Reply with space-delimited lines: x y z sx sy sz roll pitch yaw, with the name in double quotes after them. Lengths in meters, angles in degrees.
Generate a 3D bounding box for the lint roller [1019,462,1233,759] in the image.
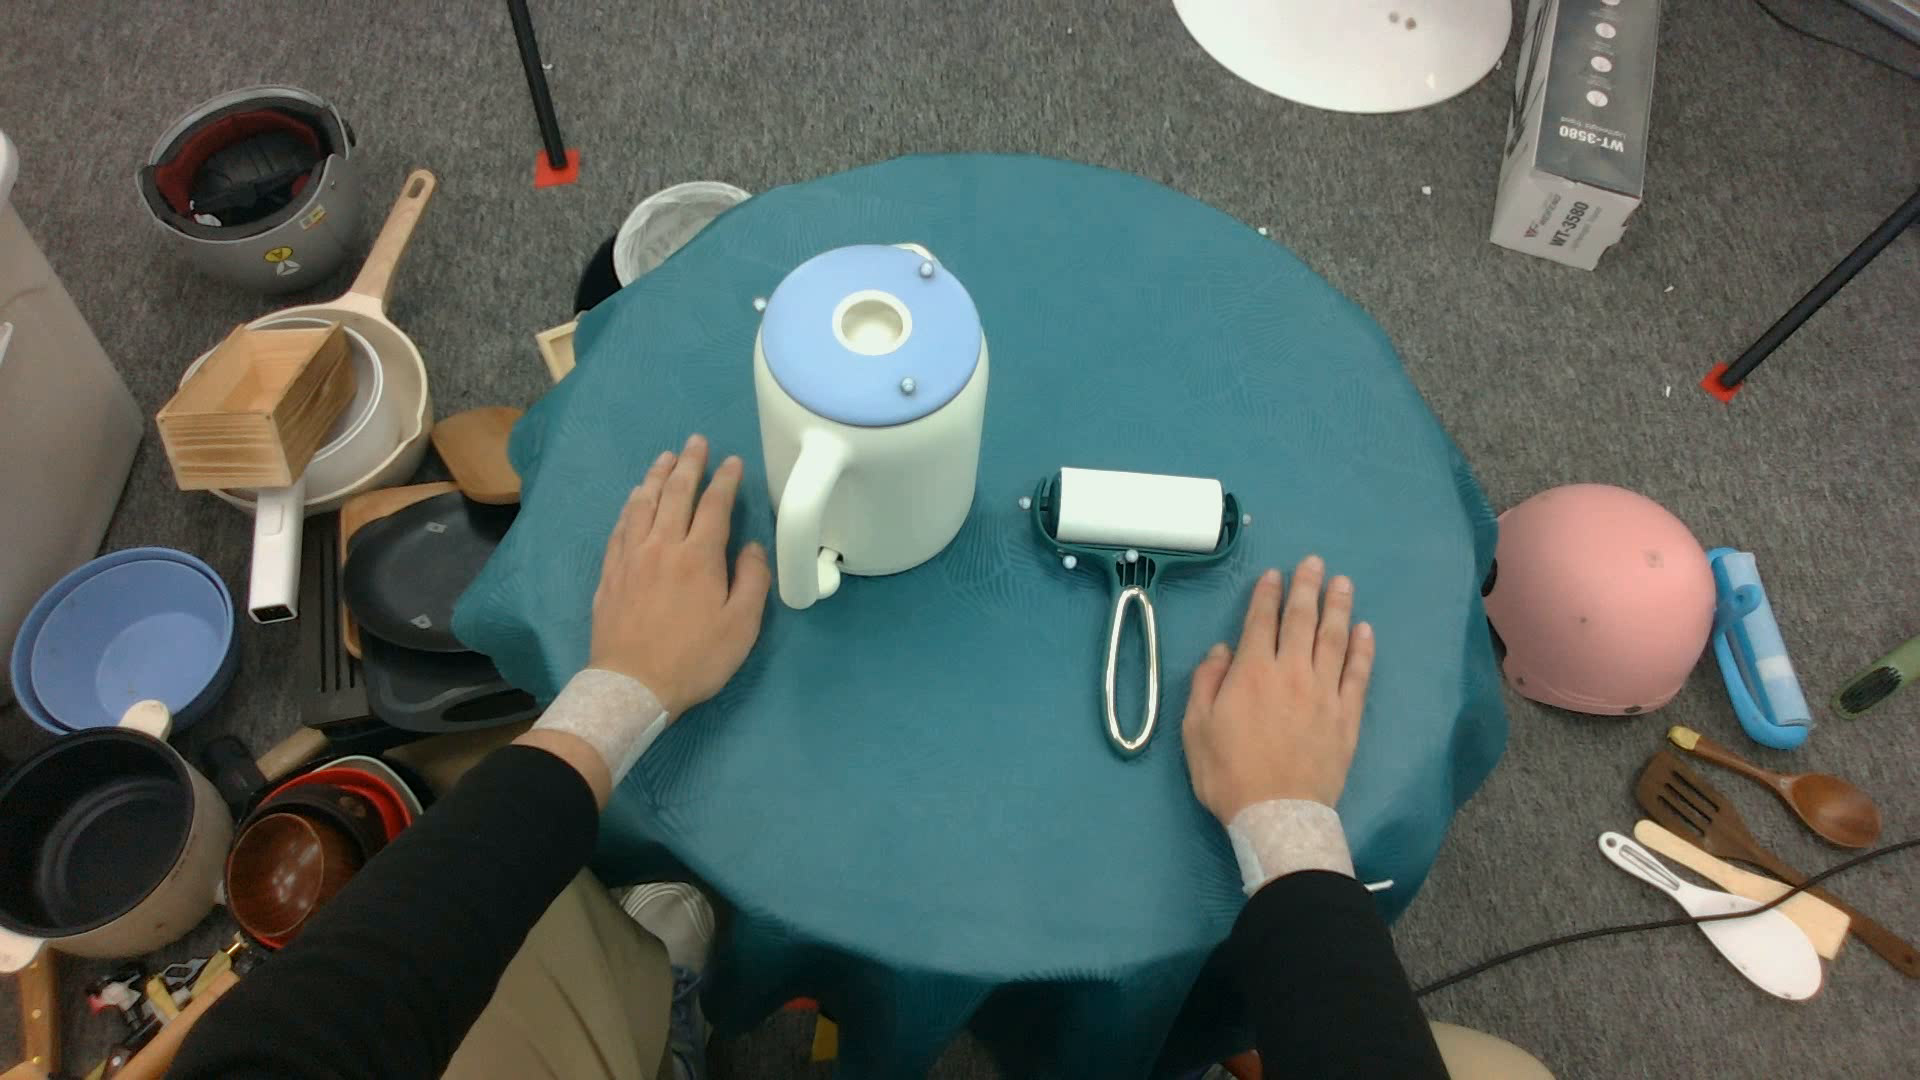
0.098 0.039 0.830 0.134 0.048 0.181 5 64 -2 "lint roller"

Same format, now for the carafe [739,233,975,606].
-0.068 -0.056 0.795 0.132 0.182 0.192 18 63 6 "carafe"
